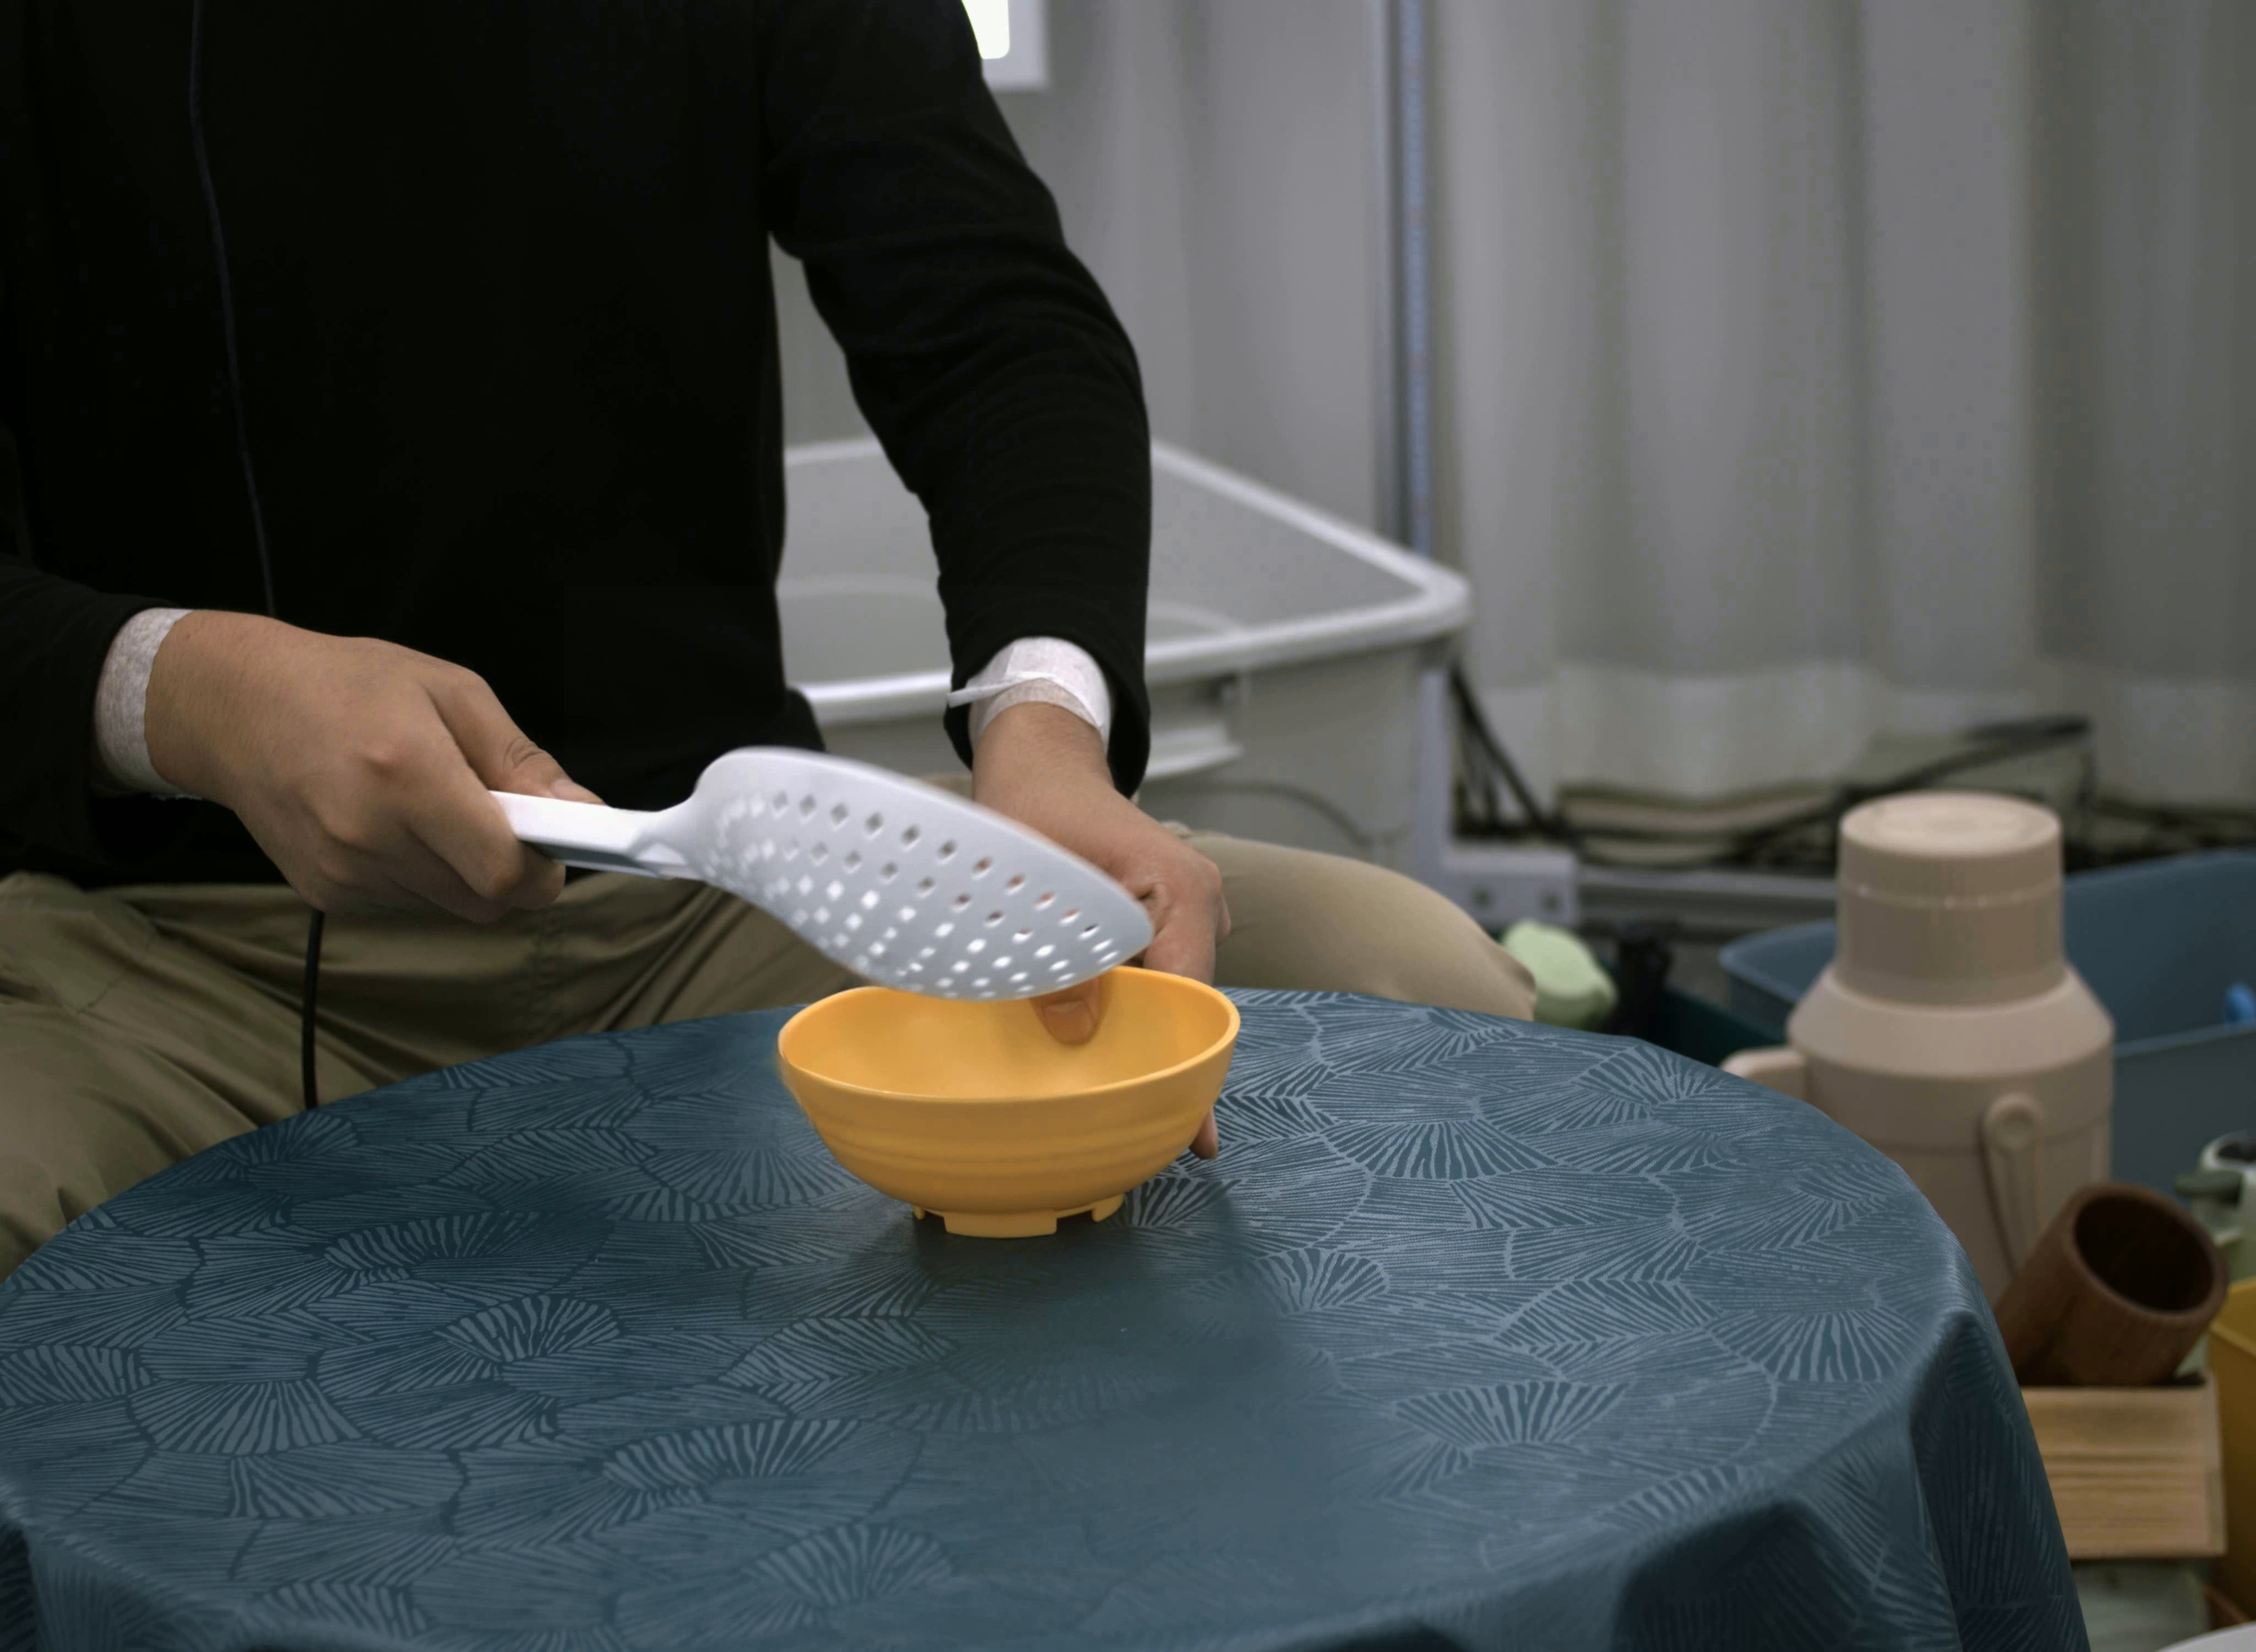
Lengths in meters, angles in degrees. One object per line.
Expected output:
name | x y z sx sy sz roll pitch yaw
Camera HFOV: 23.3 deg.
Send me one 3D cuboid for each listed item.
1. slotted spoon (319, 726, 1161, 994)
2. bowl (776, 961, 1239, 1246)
slotted spoon | -0.132 0.004 1.655 0.351 0.046 0.134 11 -20 47
bowl | -0.037 0.091 1.702 0.145 0.060 0.146 -1 16 0
